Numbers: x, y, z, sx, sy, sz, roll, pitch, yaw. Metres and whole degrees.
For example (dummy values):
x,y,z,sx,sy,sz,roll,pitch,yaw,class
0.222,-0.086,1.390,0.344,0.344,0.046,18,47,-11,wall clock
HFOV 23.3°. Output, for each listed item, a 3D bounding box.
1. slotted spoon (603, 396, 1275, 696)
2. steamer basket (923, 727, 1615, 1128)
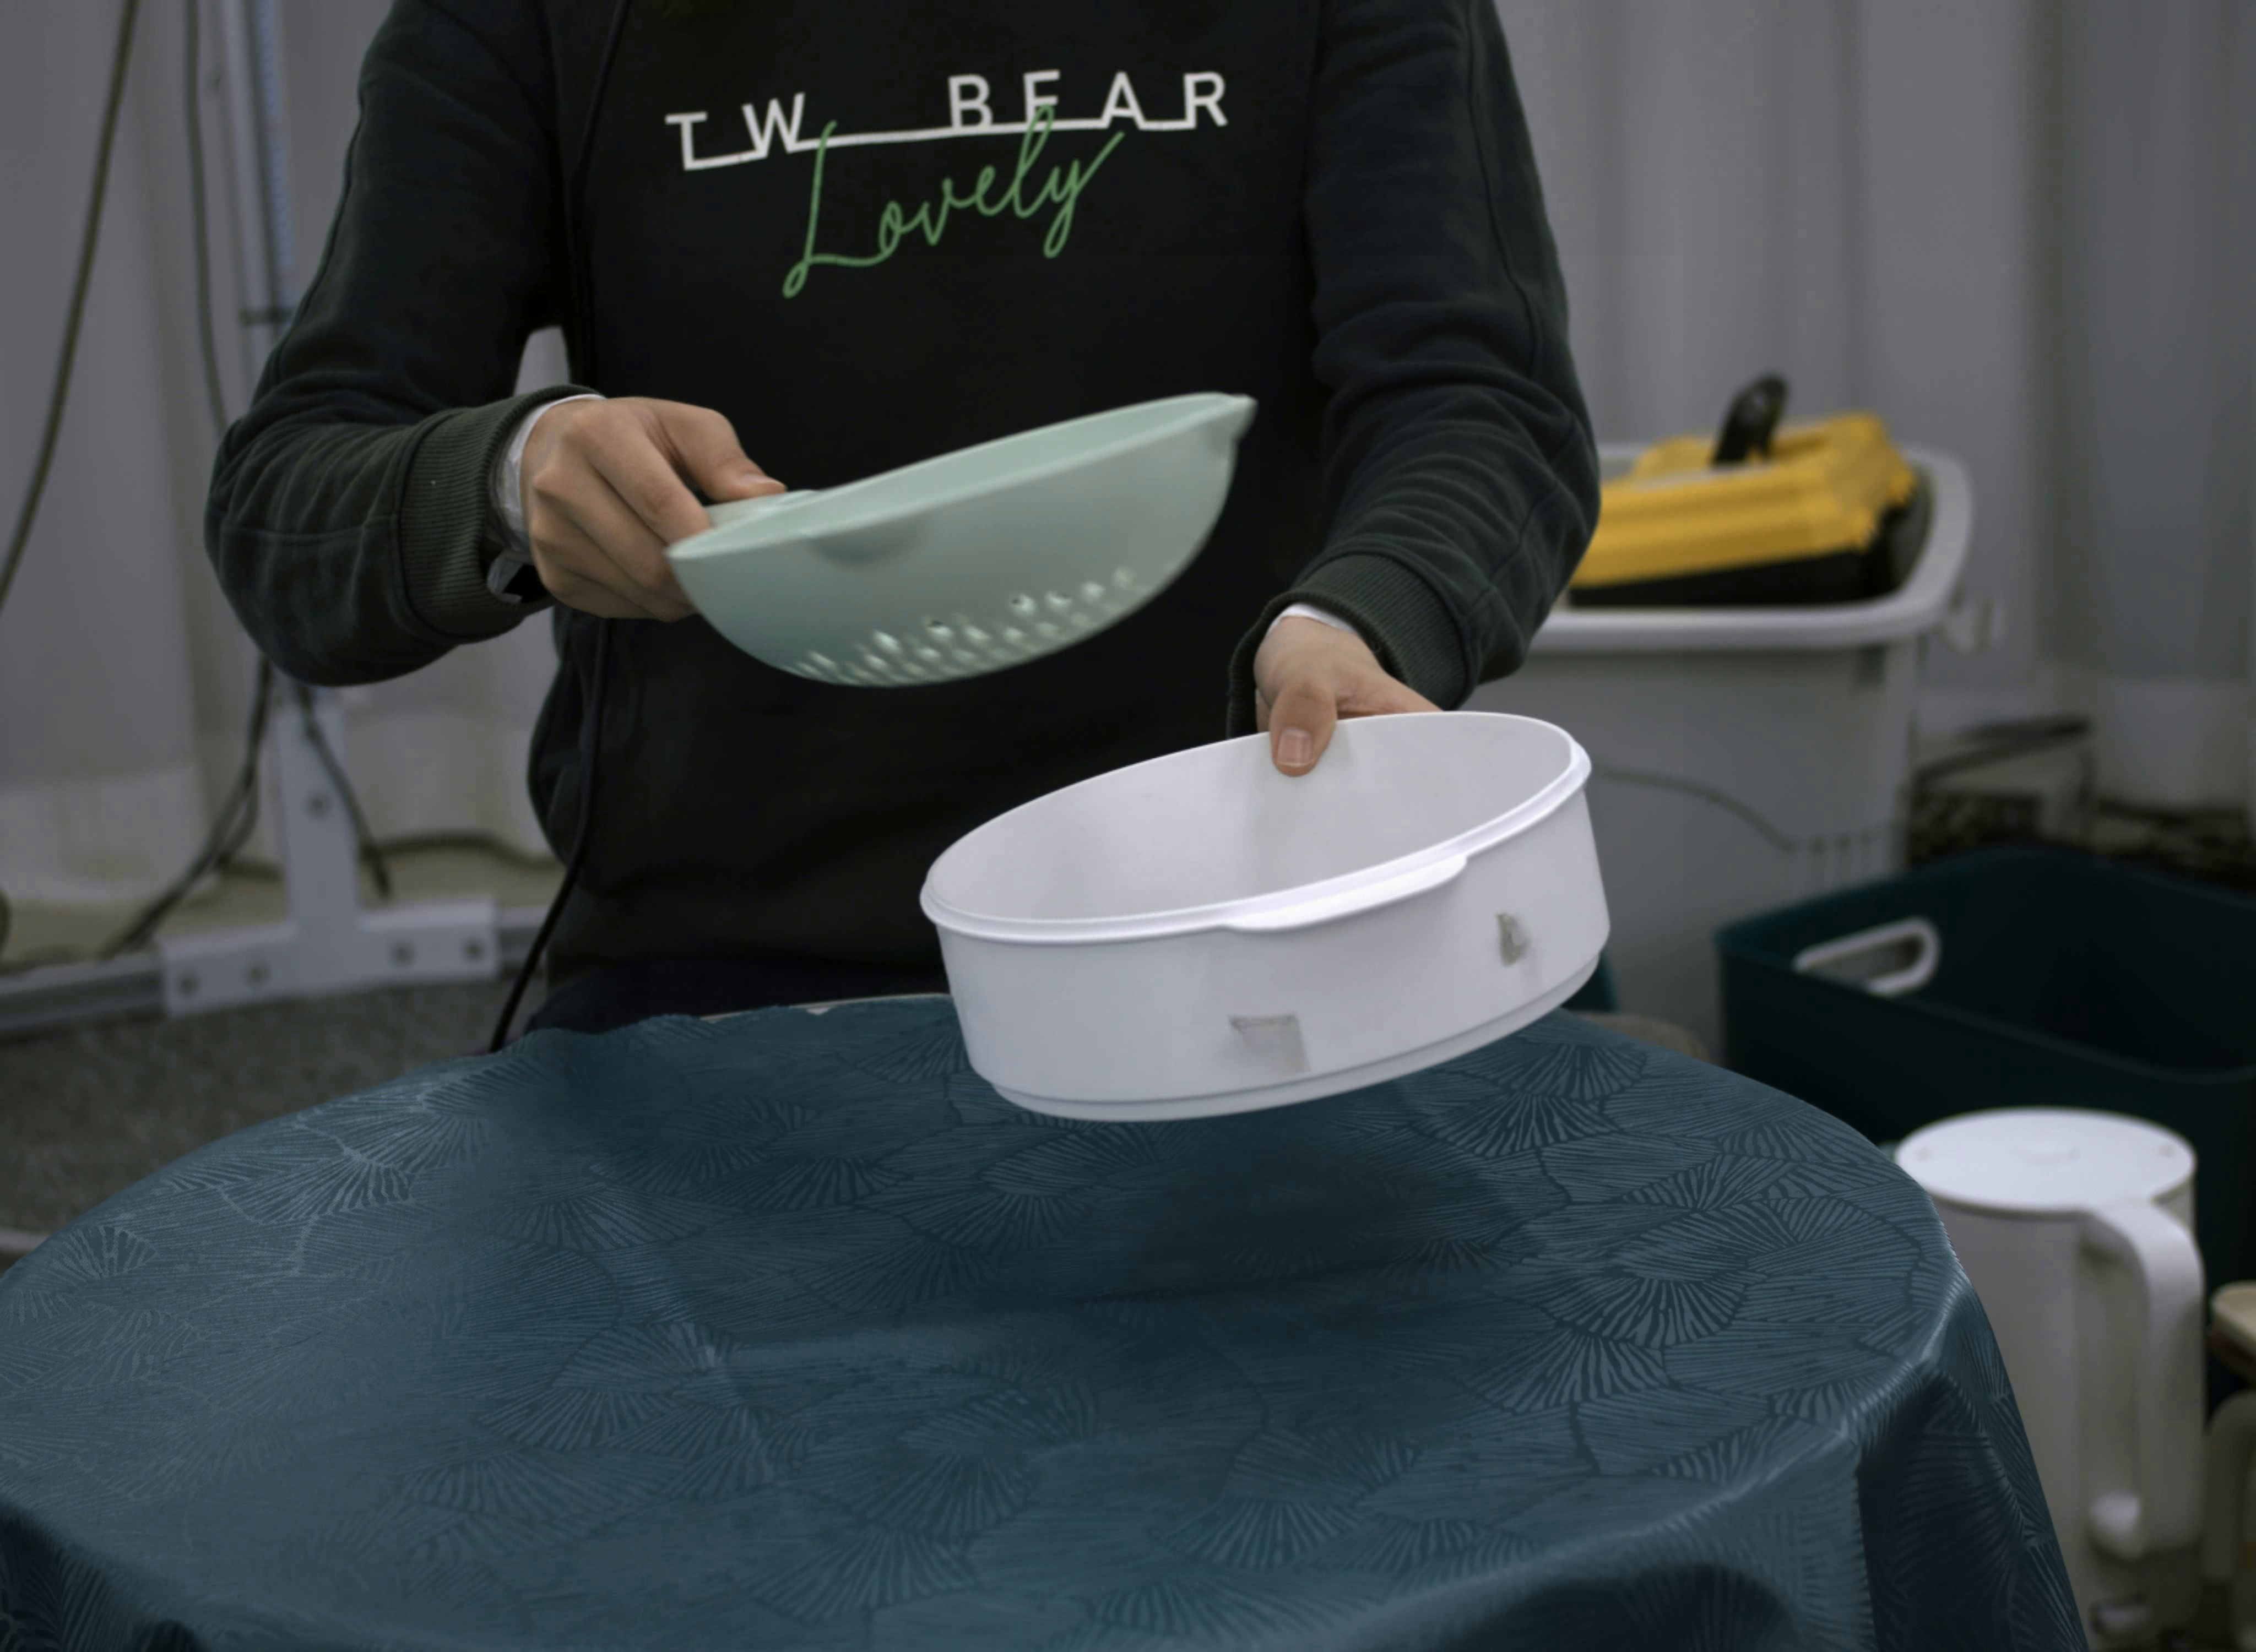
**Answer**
x,y,z,sx,sy,sz,roll,pitch,yaw,class
-0.088,-0.086,1.665,0.169,0.075,0.361,-19,16,-27,slotted spoon
0.044,0.030,1.603,0.201,0.069,0.232,-14,13,-13,steamer basket
